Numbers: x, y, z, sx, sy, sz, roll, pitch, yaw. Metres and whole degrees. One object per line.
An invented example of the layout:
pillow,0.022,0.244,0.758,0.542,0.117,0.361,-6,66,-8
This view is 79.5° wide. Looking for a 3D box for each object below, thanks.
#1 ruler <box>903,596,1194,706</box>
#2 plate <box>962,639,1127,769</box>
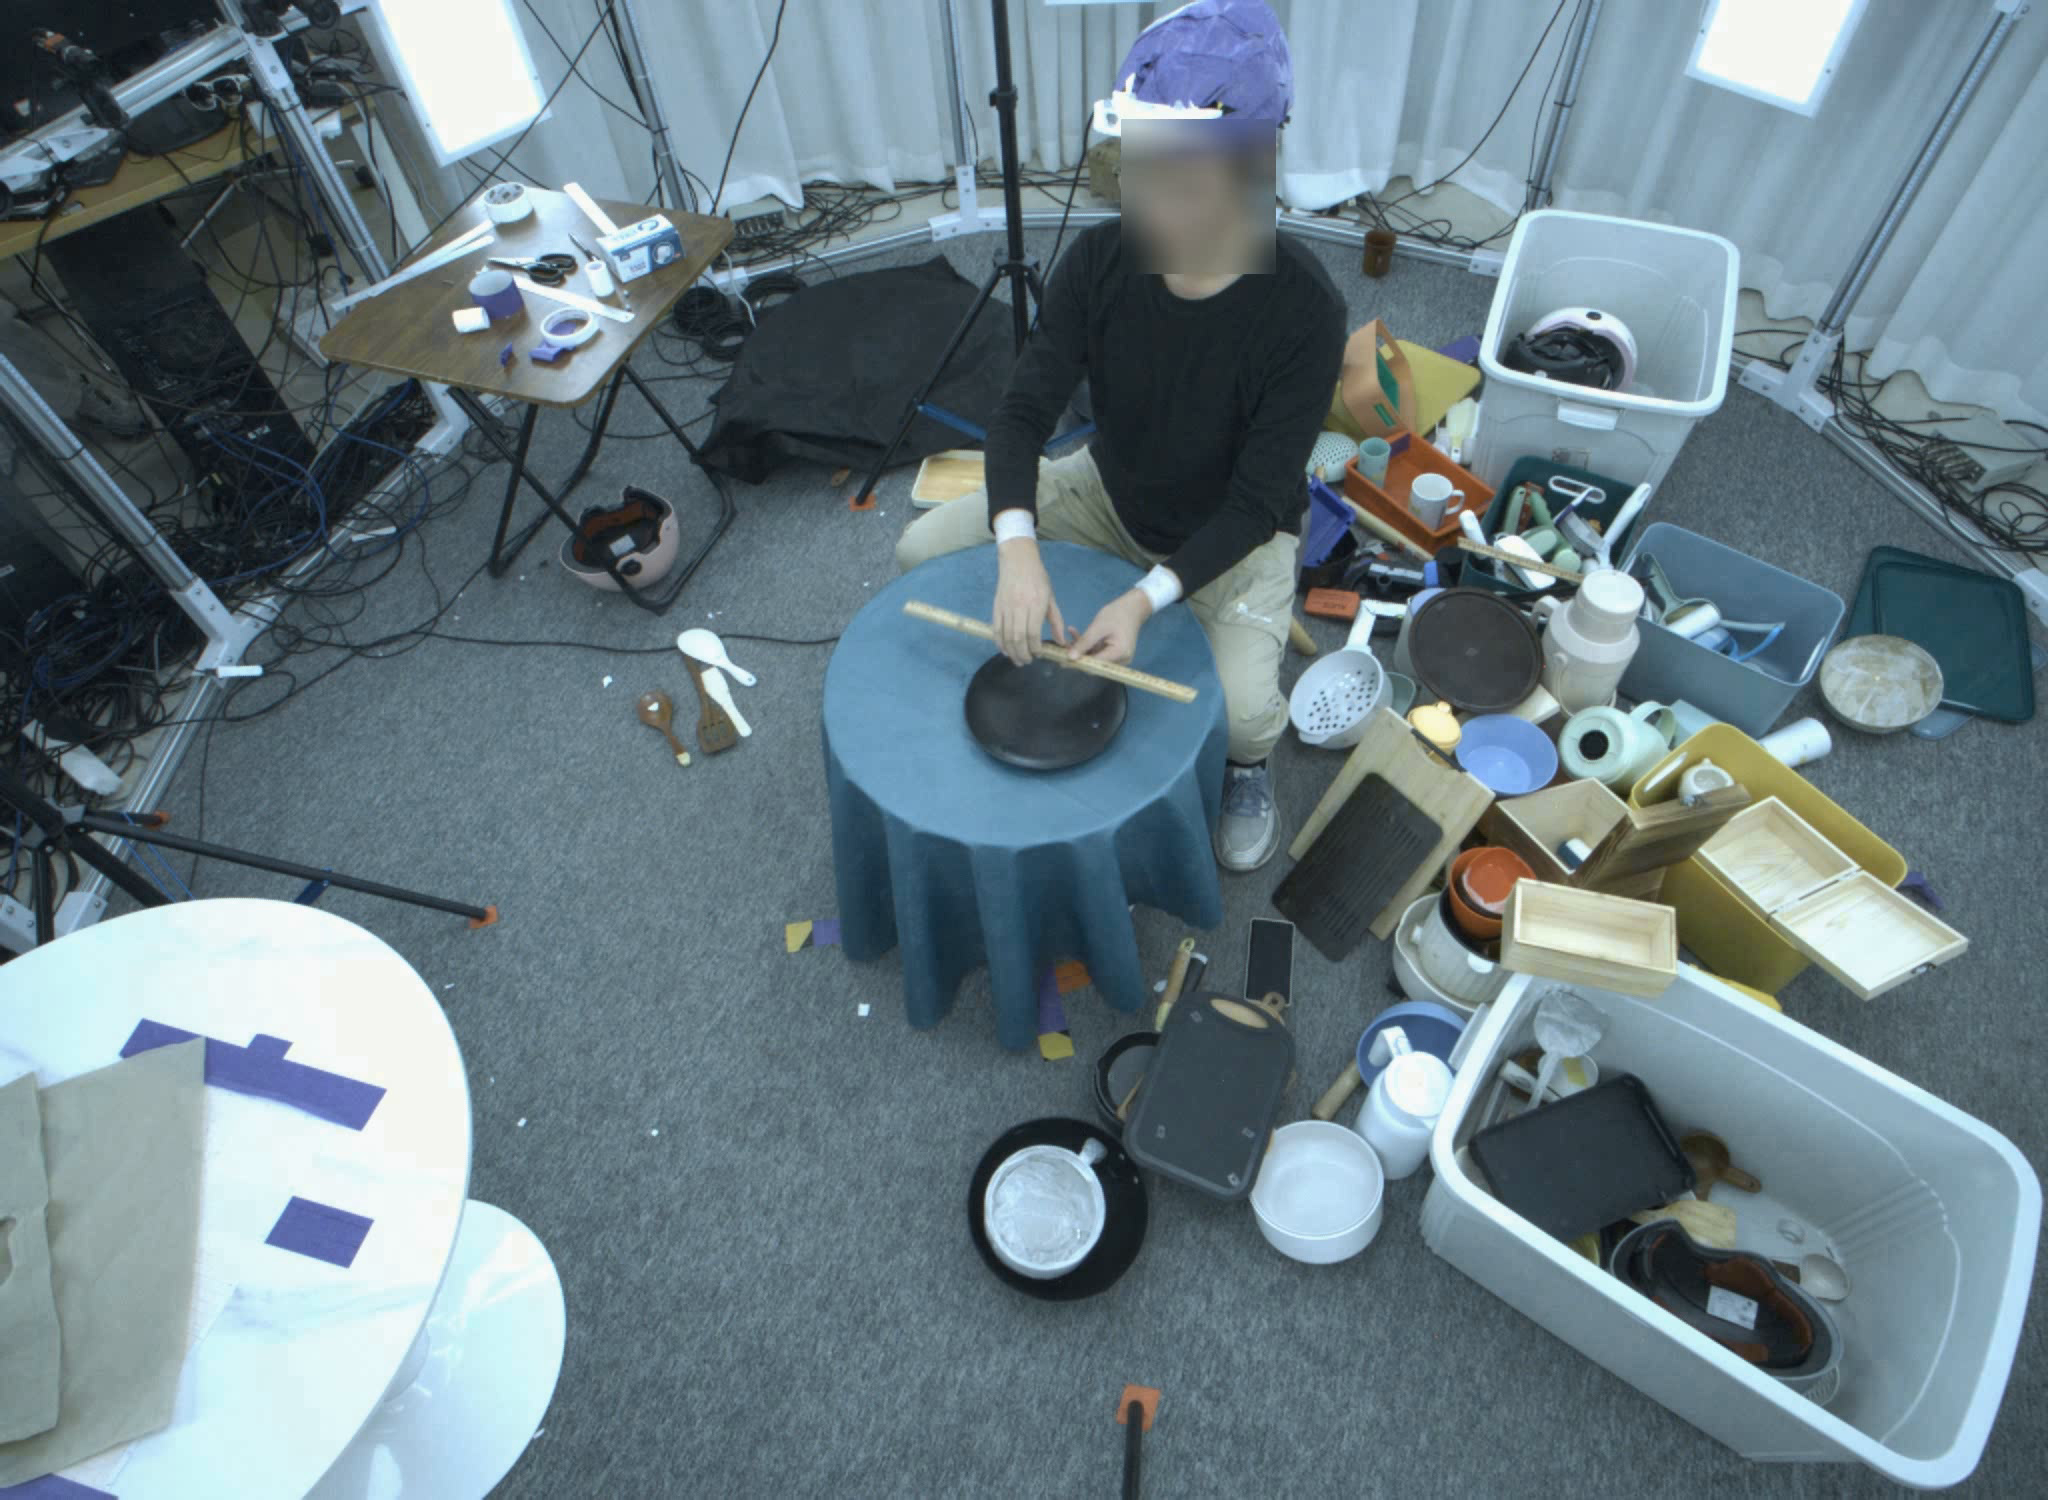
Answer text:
ruler,0.023,-0.150,1.774,0.491,0.006,0.027,22,54,27
plate,0.031,-0.066,1.819,0.244,0.024,0.242,0,55,2
